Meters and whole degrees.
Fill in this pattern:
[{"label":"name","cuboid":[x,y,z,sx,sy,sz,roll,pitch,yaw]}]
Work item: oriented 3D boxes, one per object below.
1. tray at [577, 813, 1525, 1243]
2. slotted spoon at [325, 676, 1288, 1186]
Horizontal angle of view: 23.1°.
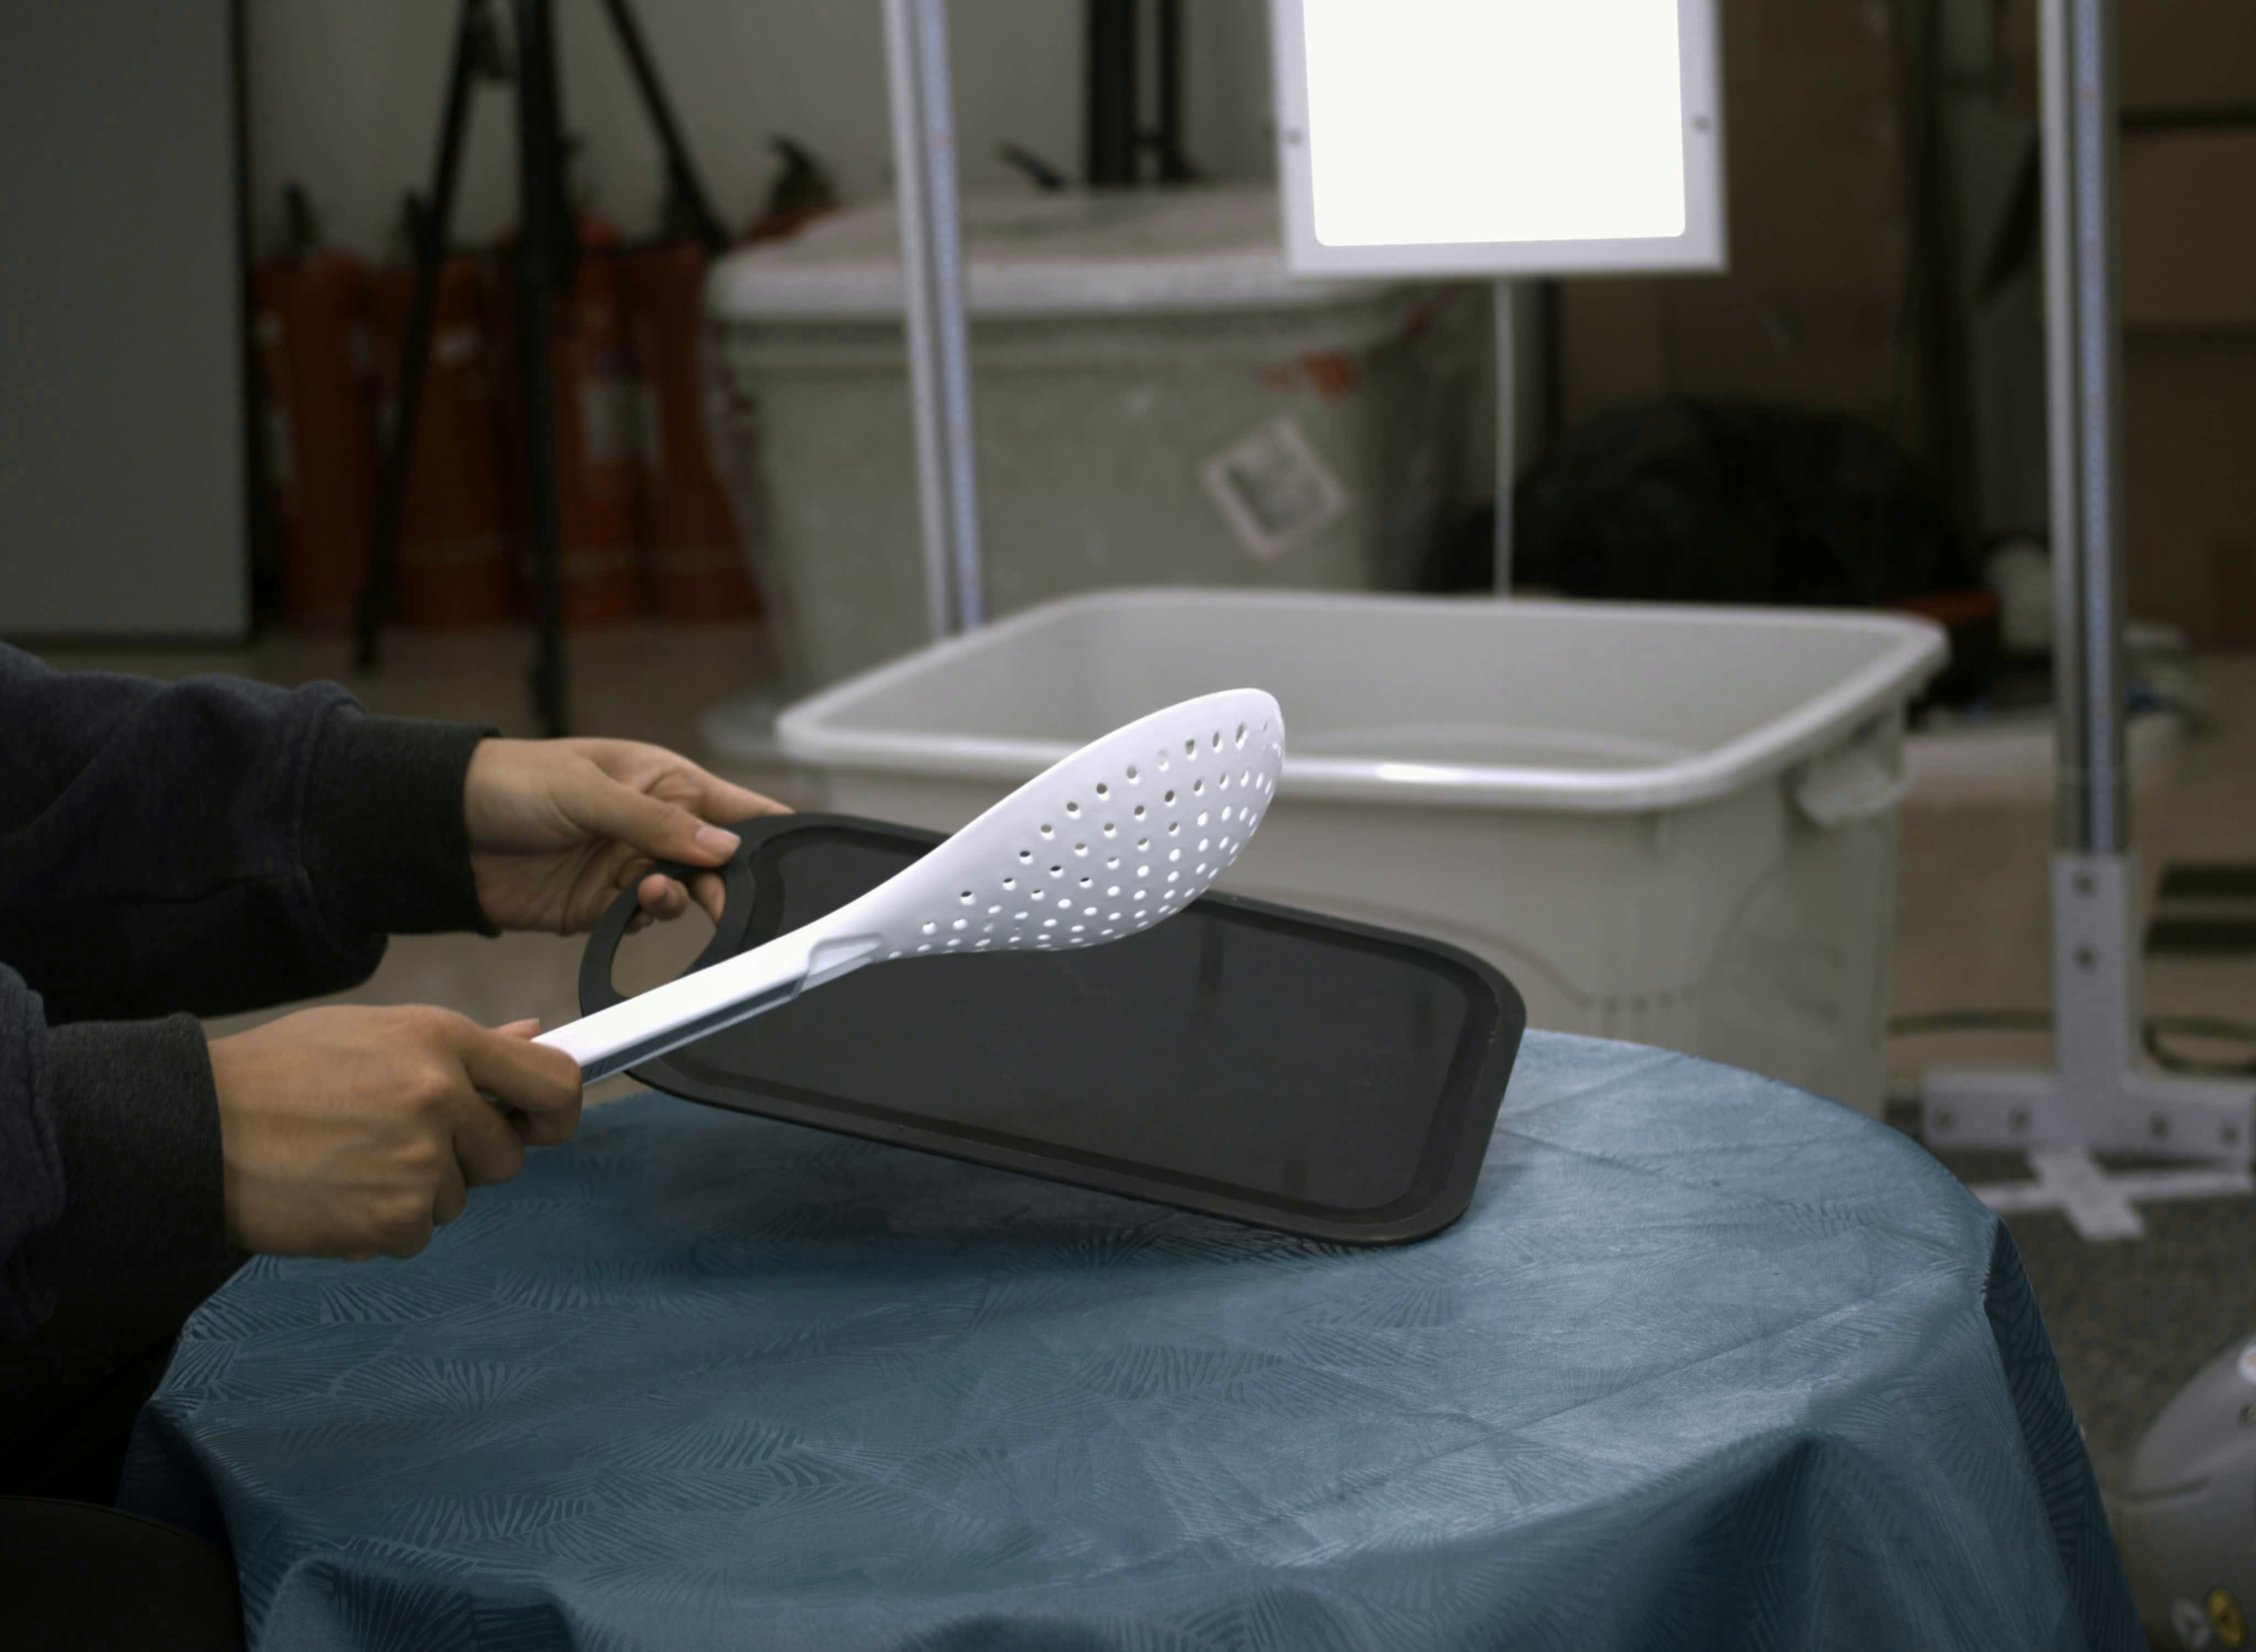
[{"label":"tray","cuboid":[-0.029,0.064,1.916,0.327,0.010,0.208,12,30,10]},{"label":"slotted spoon","cuboid":[-0.095,0.038,1.751,0.344,0.046,0.137,-19,-21,-18]}]
